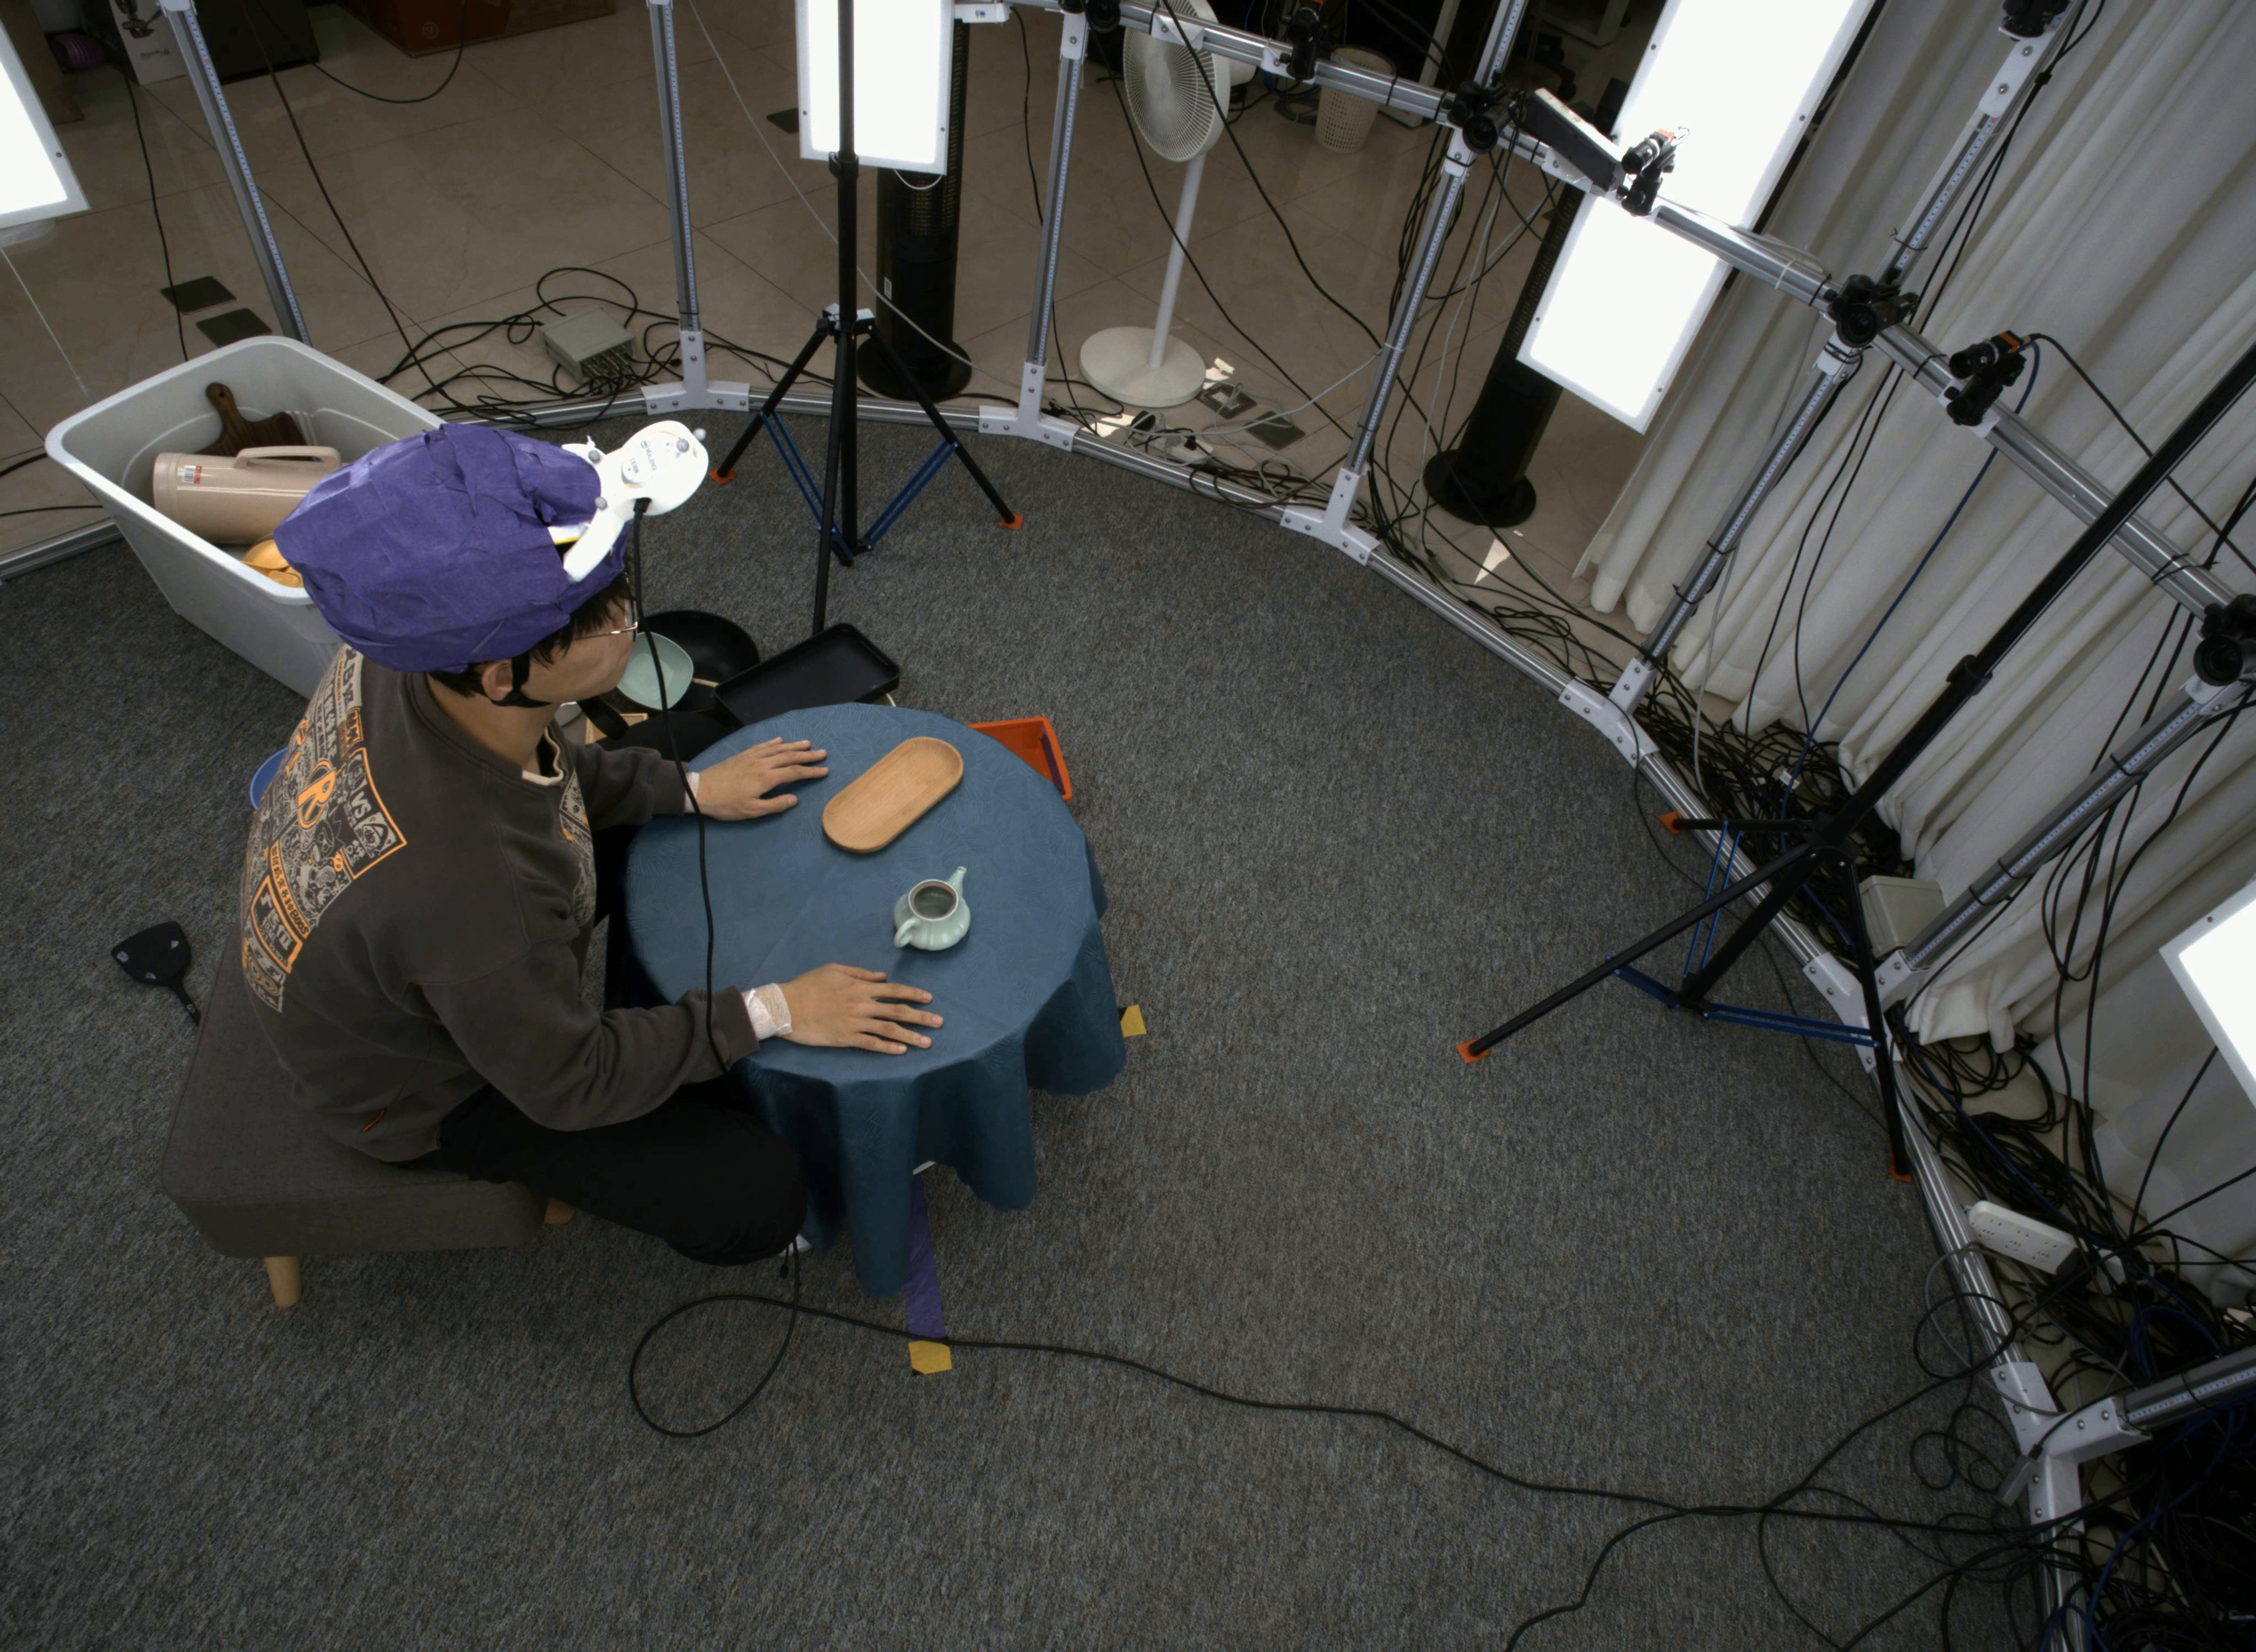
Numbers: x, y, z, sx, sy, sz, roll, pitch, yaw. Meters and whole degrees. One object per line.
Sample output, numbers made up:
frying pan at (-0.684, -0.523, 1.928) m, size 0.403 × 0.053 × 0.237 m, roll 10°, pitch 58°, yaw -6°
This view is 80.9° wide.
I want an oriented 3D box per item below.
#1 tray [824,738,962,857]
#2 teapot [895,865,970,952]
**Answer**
tray at (-0.320, -0.041, 1.783) m, size 0.100 × 0.021 × 0.231 m, roll 35°, pitch 55°, yaw 13°
teapot at (-0.251, 0.111, 1.660) m, size 0.095 × 0.062 × 0.136 m, roll 31°, pitch 53°, yaw 9°
